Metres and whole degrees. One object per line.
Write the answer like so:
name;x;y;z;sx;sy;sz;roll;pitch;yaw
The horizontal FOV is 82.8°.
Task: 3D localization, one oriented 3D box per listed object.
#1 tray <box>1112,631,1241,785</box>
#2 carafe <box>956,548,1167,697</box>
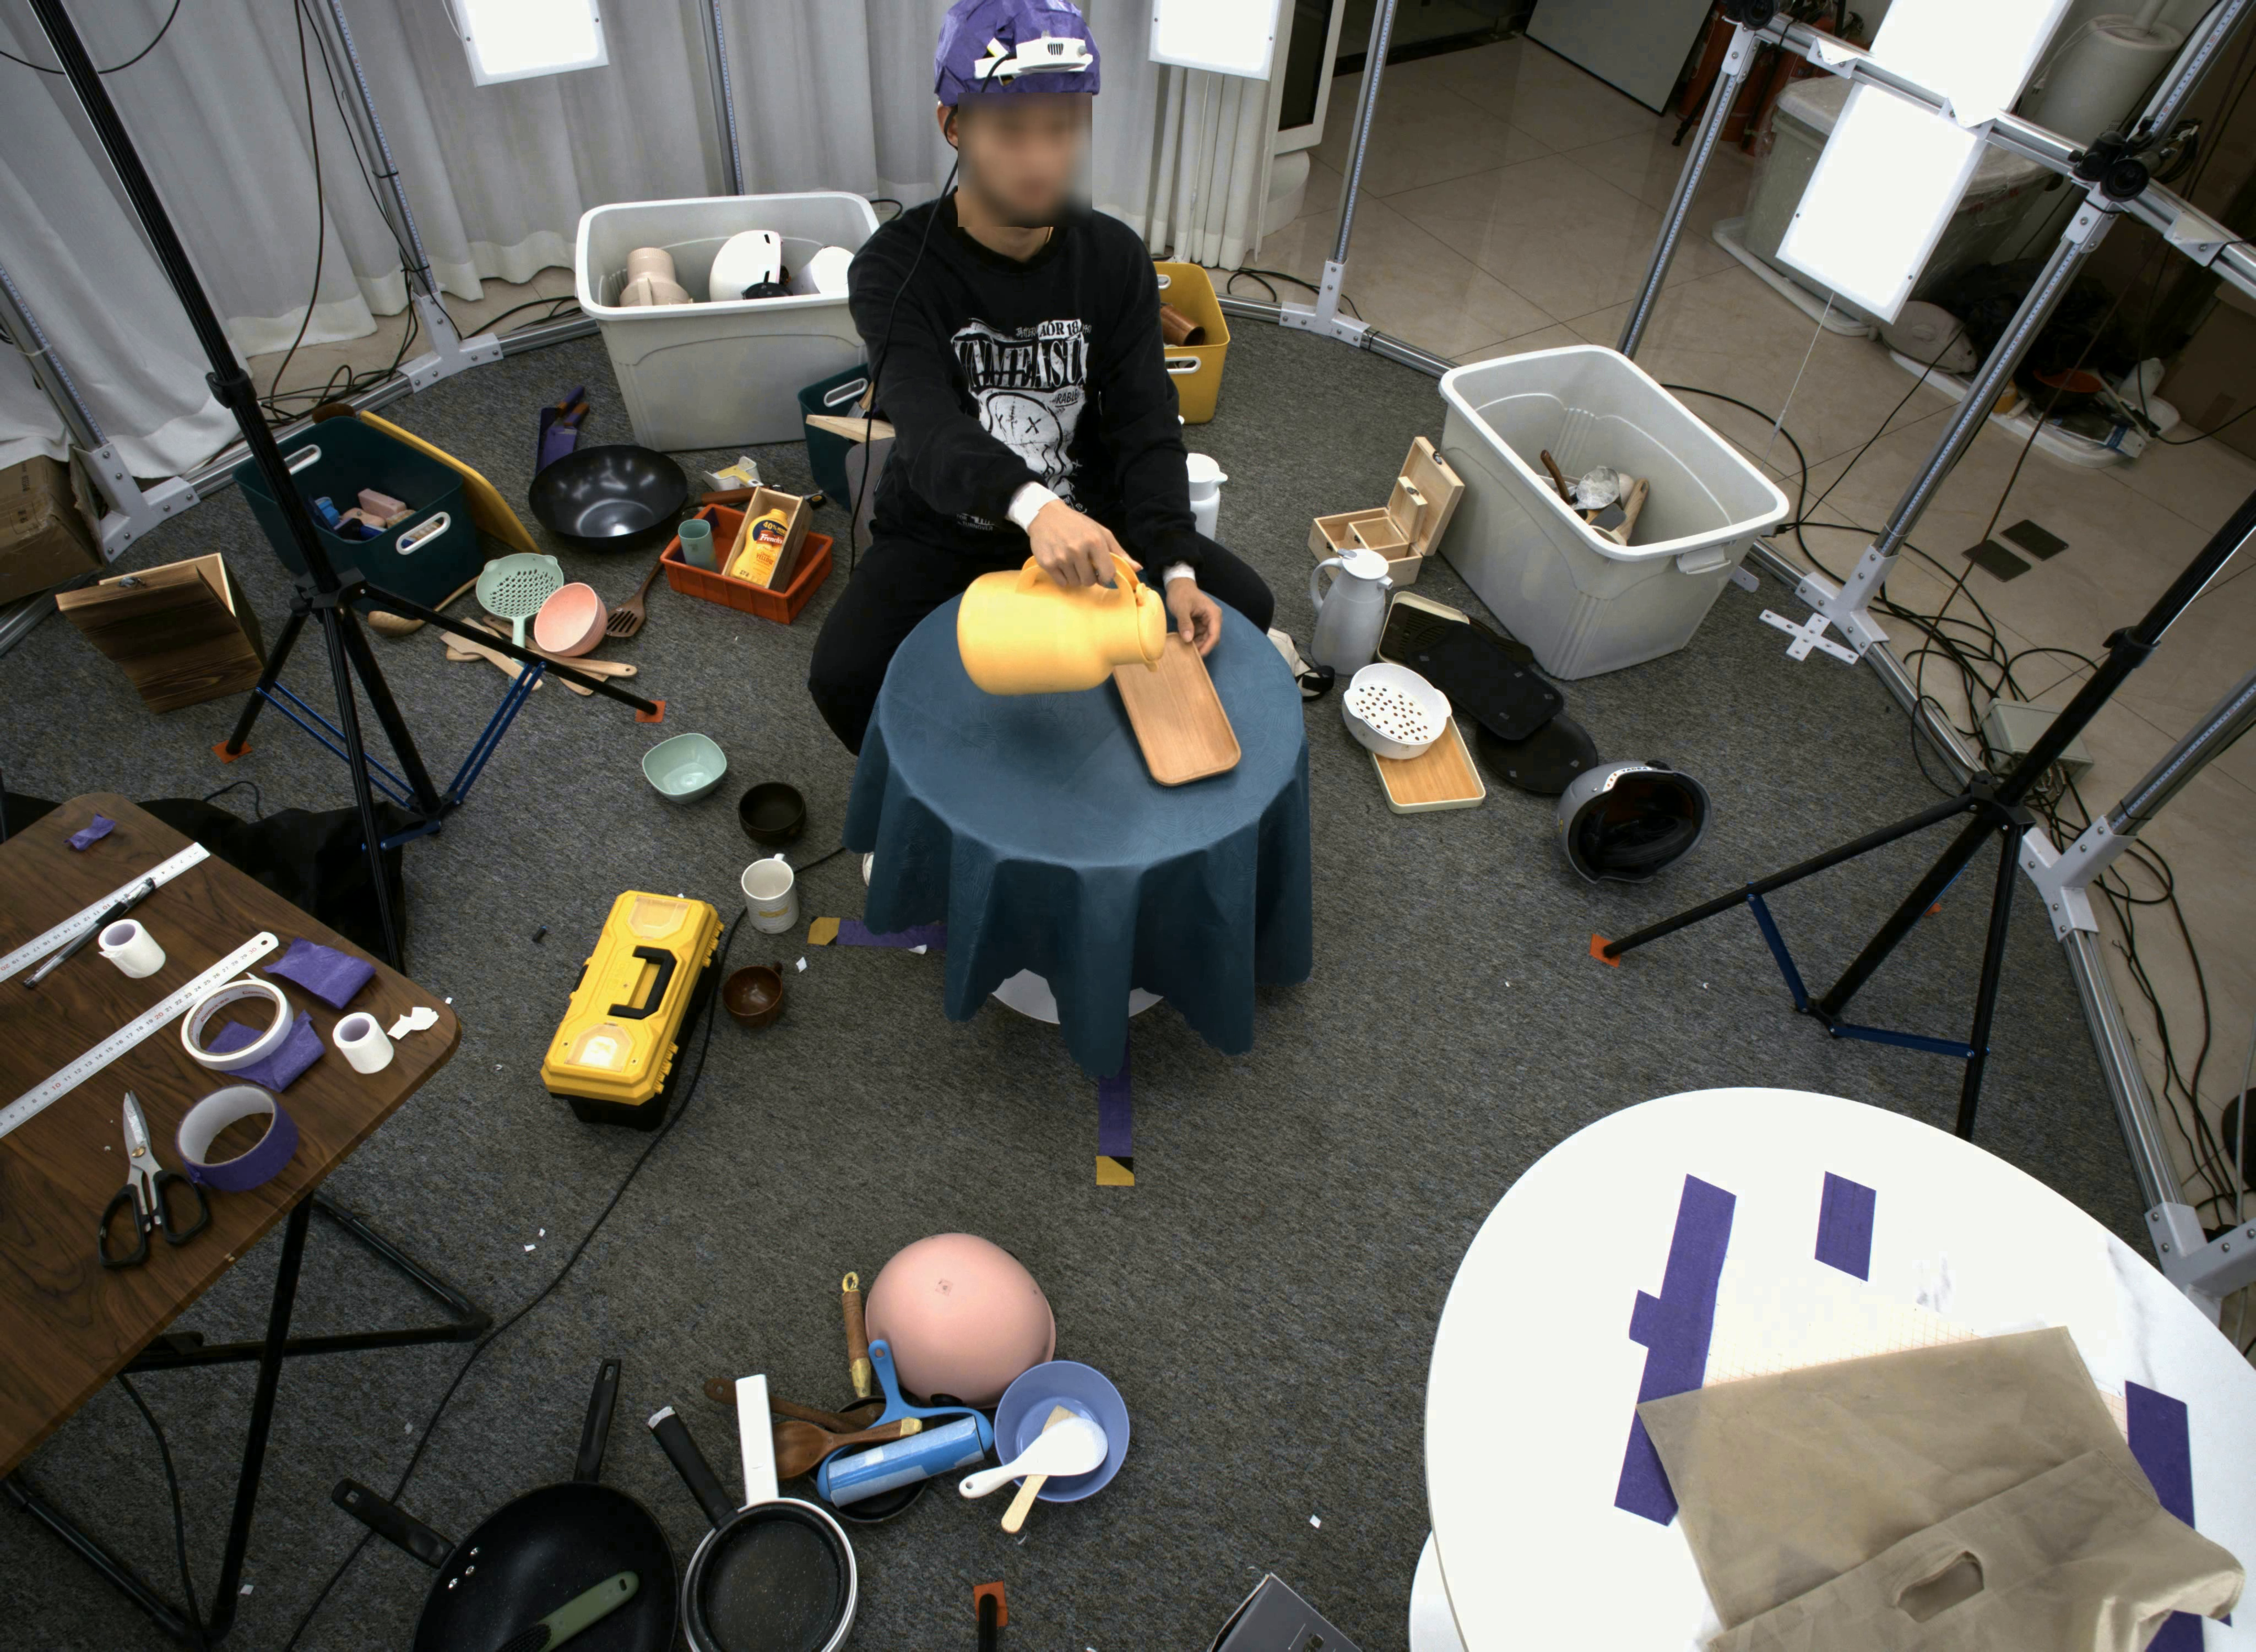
tray;0.063;-0.166;1.783;0.130;0.022;0.256;-13;56;-8
carafe;-0.086;-0.266;1.653;0.261;0.197;0.167;-2;46;18
